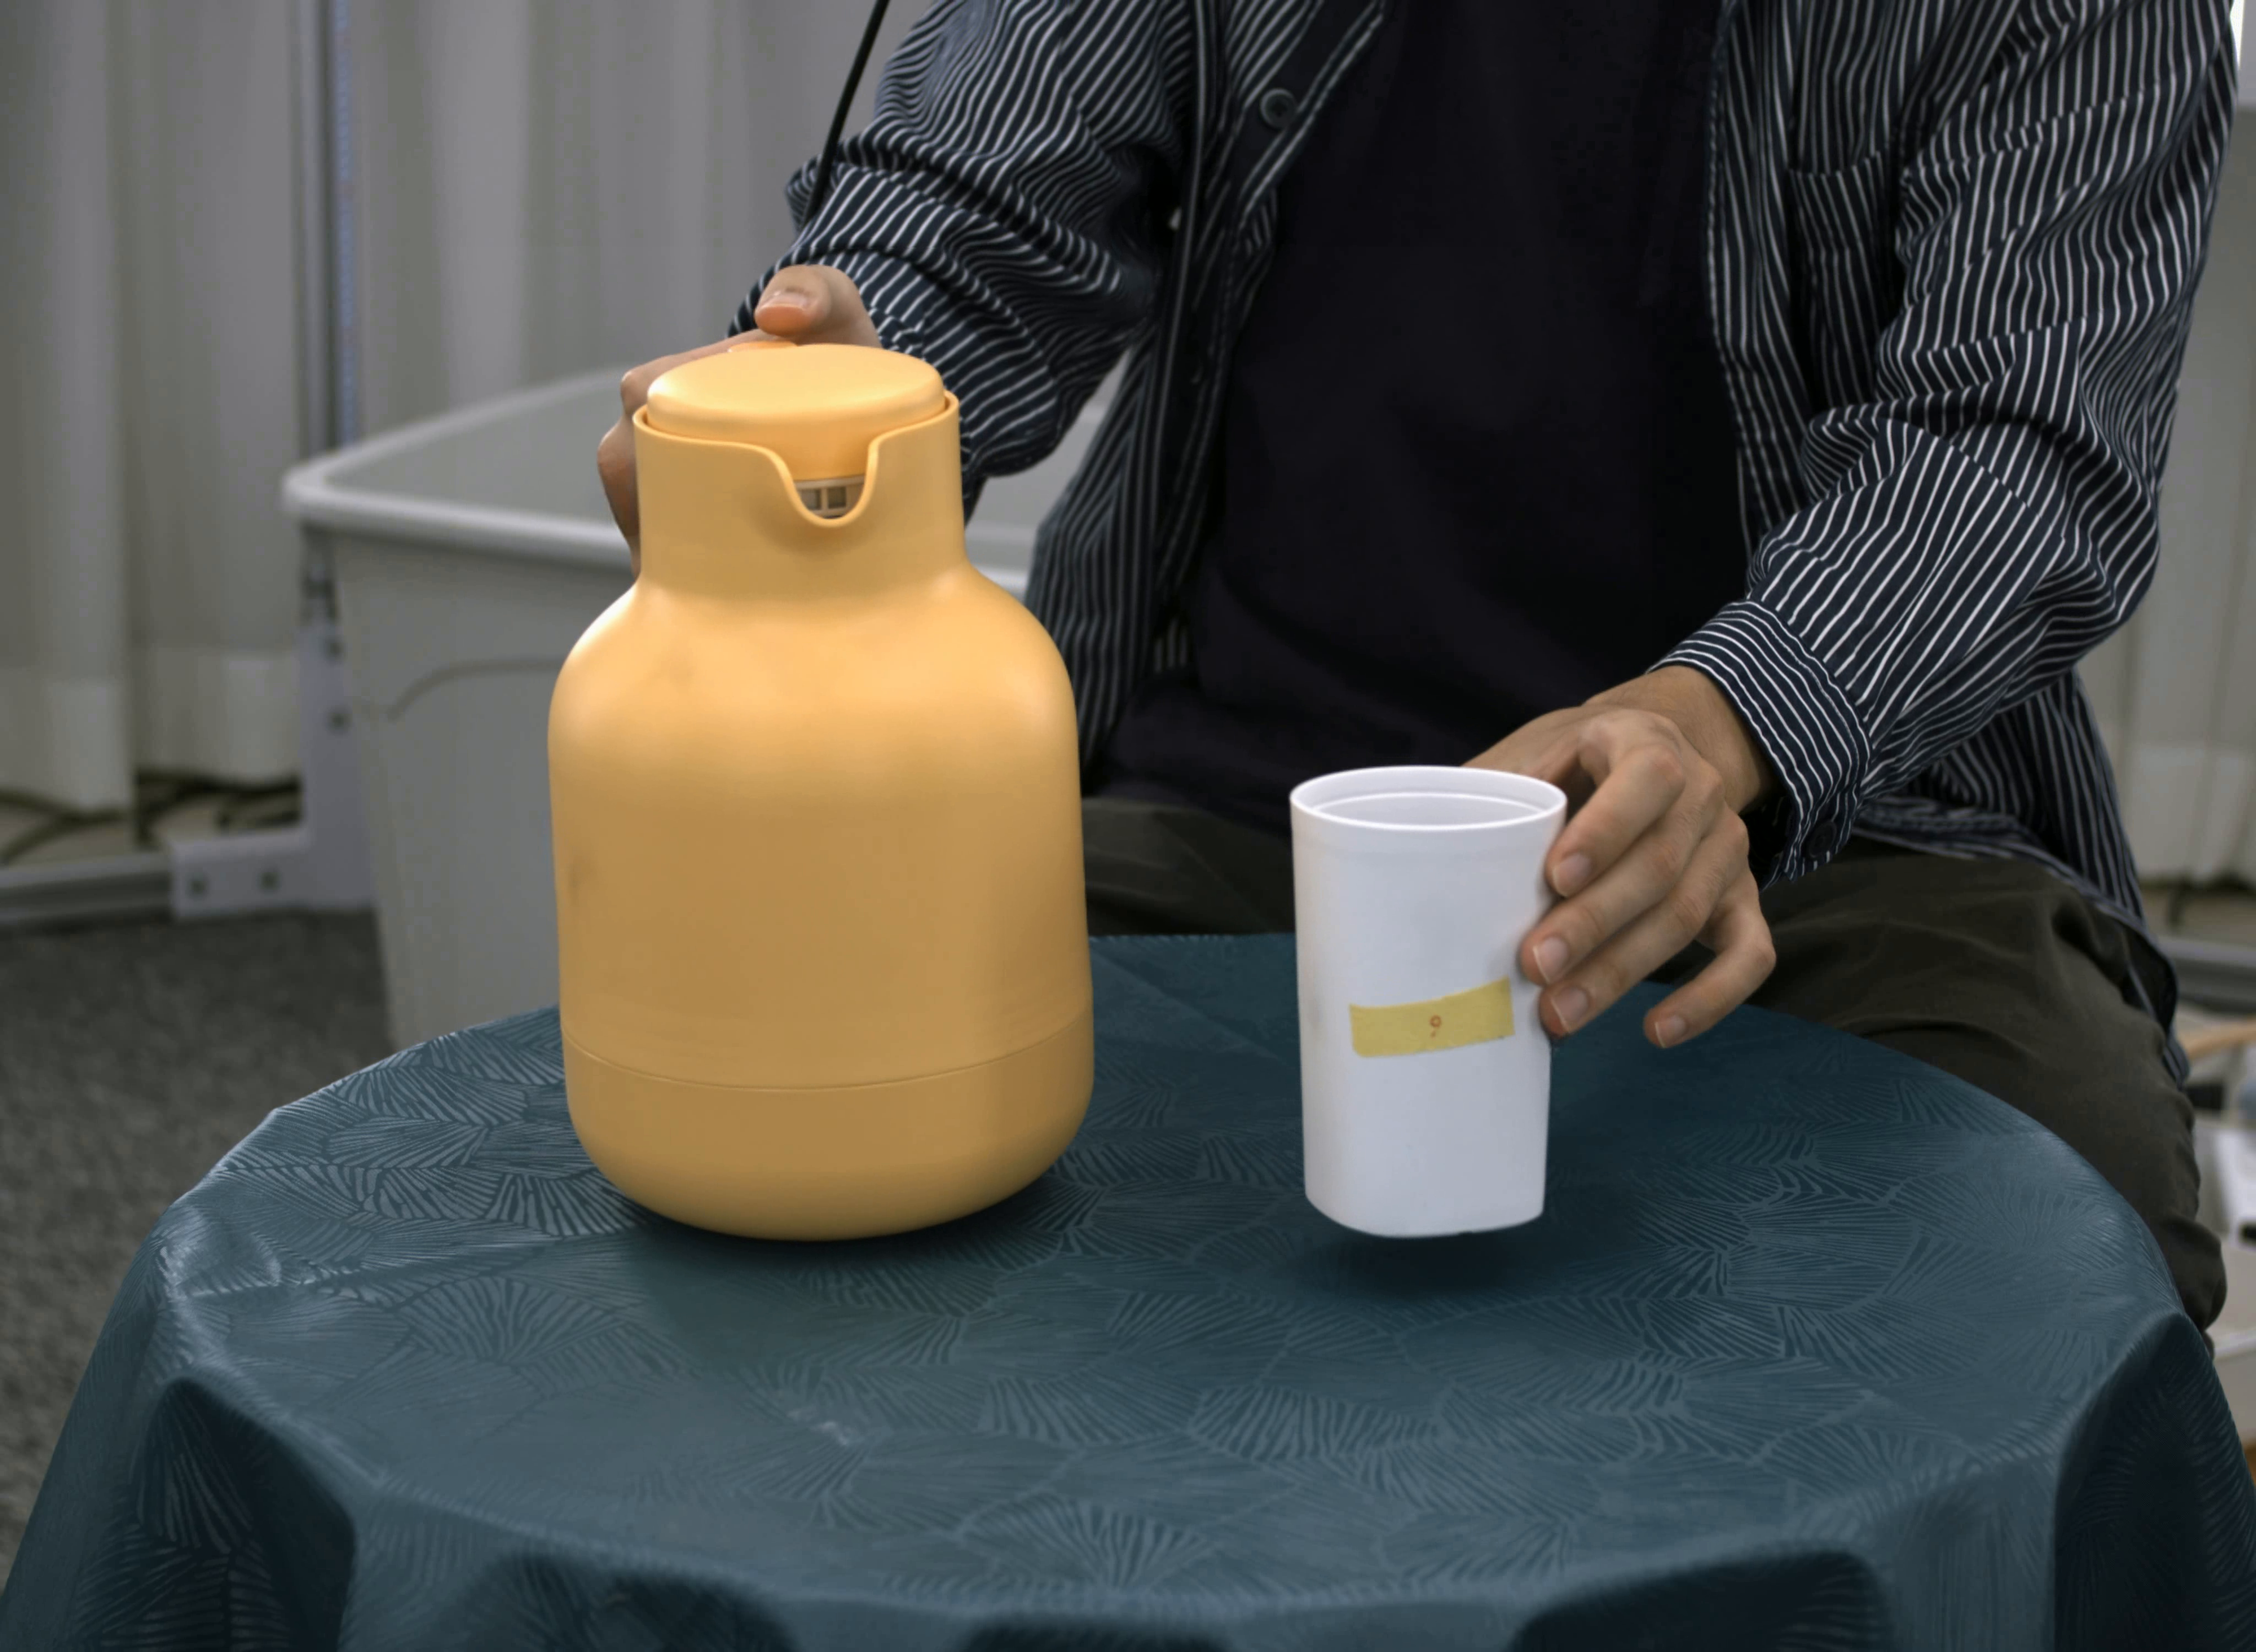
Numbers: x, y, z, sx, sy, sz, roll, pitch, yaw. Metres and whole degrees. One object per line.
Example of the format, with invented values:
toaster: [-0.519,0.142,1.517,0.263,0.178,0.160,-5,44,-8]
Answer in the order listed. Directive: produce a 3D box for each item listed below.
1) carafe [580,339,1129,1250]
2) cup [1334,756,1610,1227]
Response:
carafe: [-0.087,-0.018,1.601,0.163,0.262,0.200,-5,17,-13]
cup: [0.100,0.049,1.550,0.081,0.126,0.081,0,13,0]
